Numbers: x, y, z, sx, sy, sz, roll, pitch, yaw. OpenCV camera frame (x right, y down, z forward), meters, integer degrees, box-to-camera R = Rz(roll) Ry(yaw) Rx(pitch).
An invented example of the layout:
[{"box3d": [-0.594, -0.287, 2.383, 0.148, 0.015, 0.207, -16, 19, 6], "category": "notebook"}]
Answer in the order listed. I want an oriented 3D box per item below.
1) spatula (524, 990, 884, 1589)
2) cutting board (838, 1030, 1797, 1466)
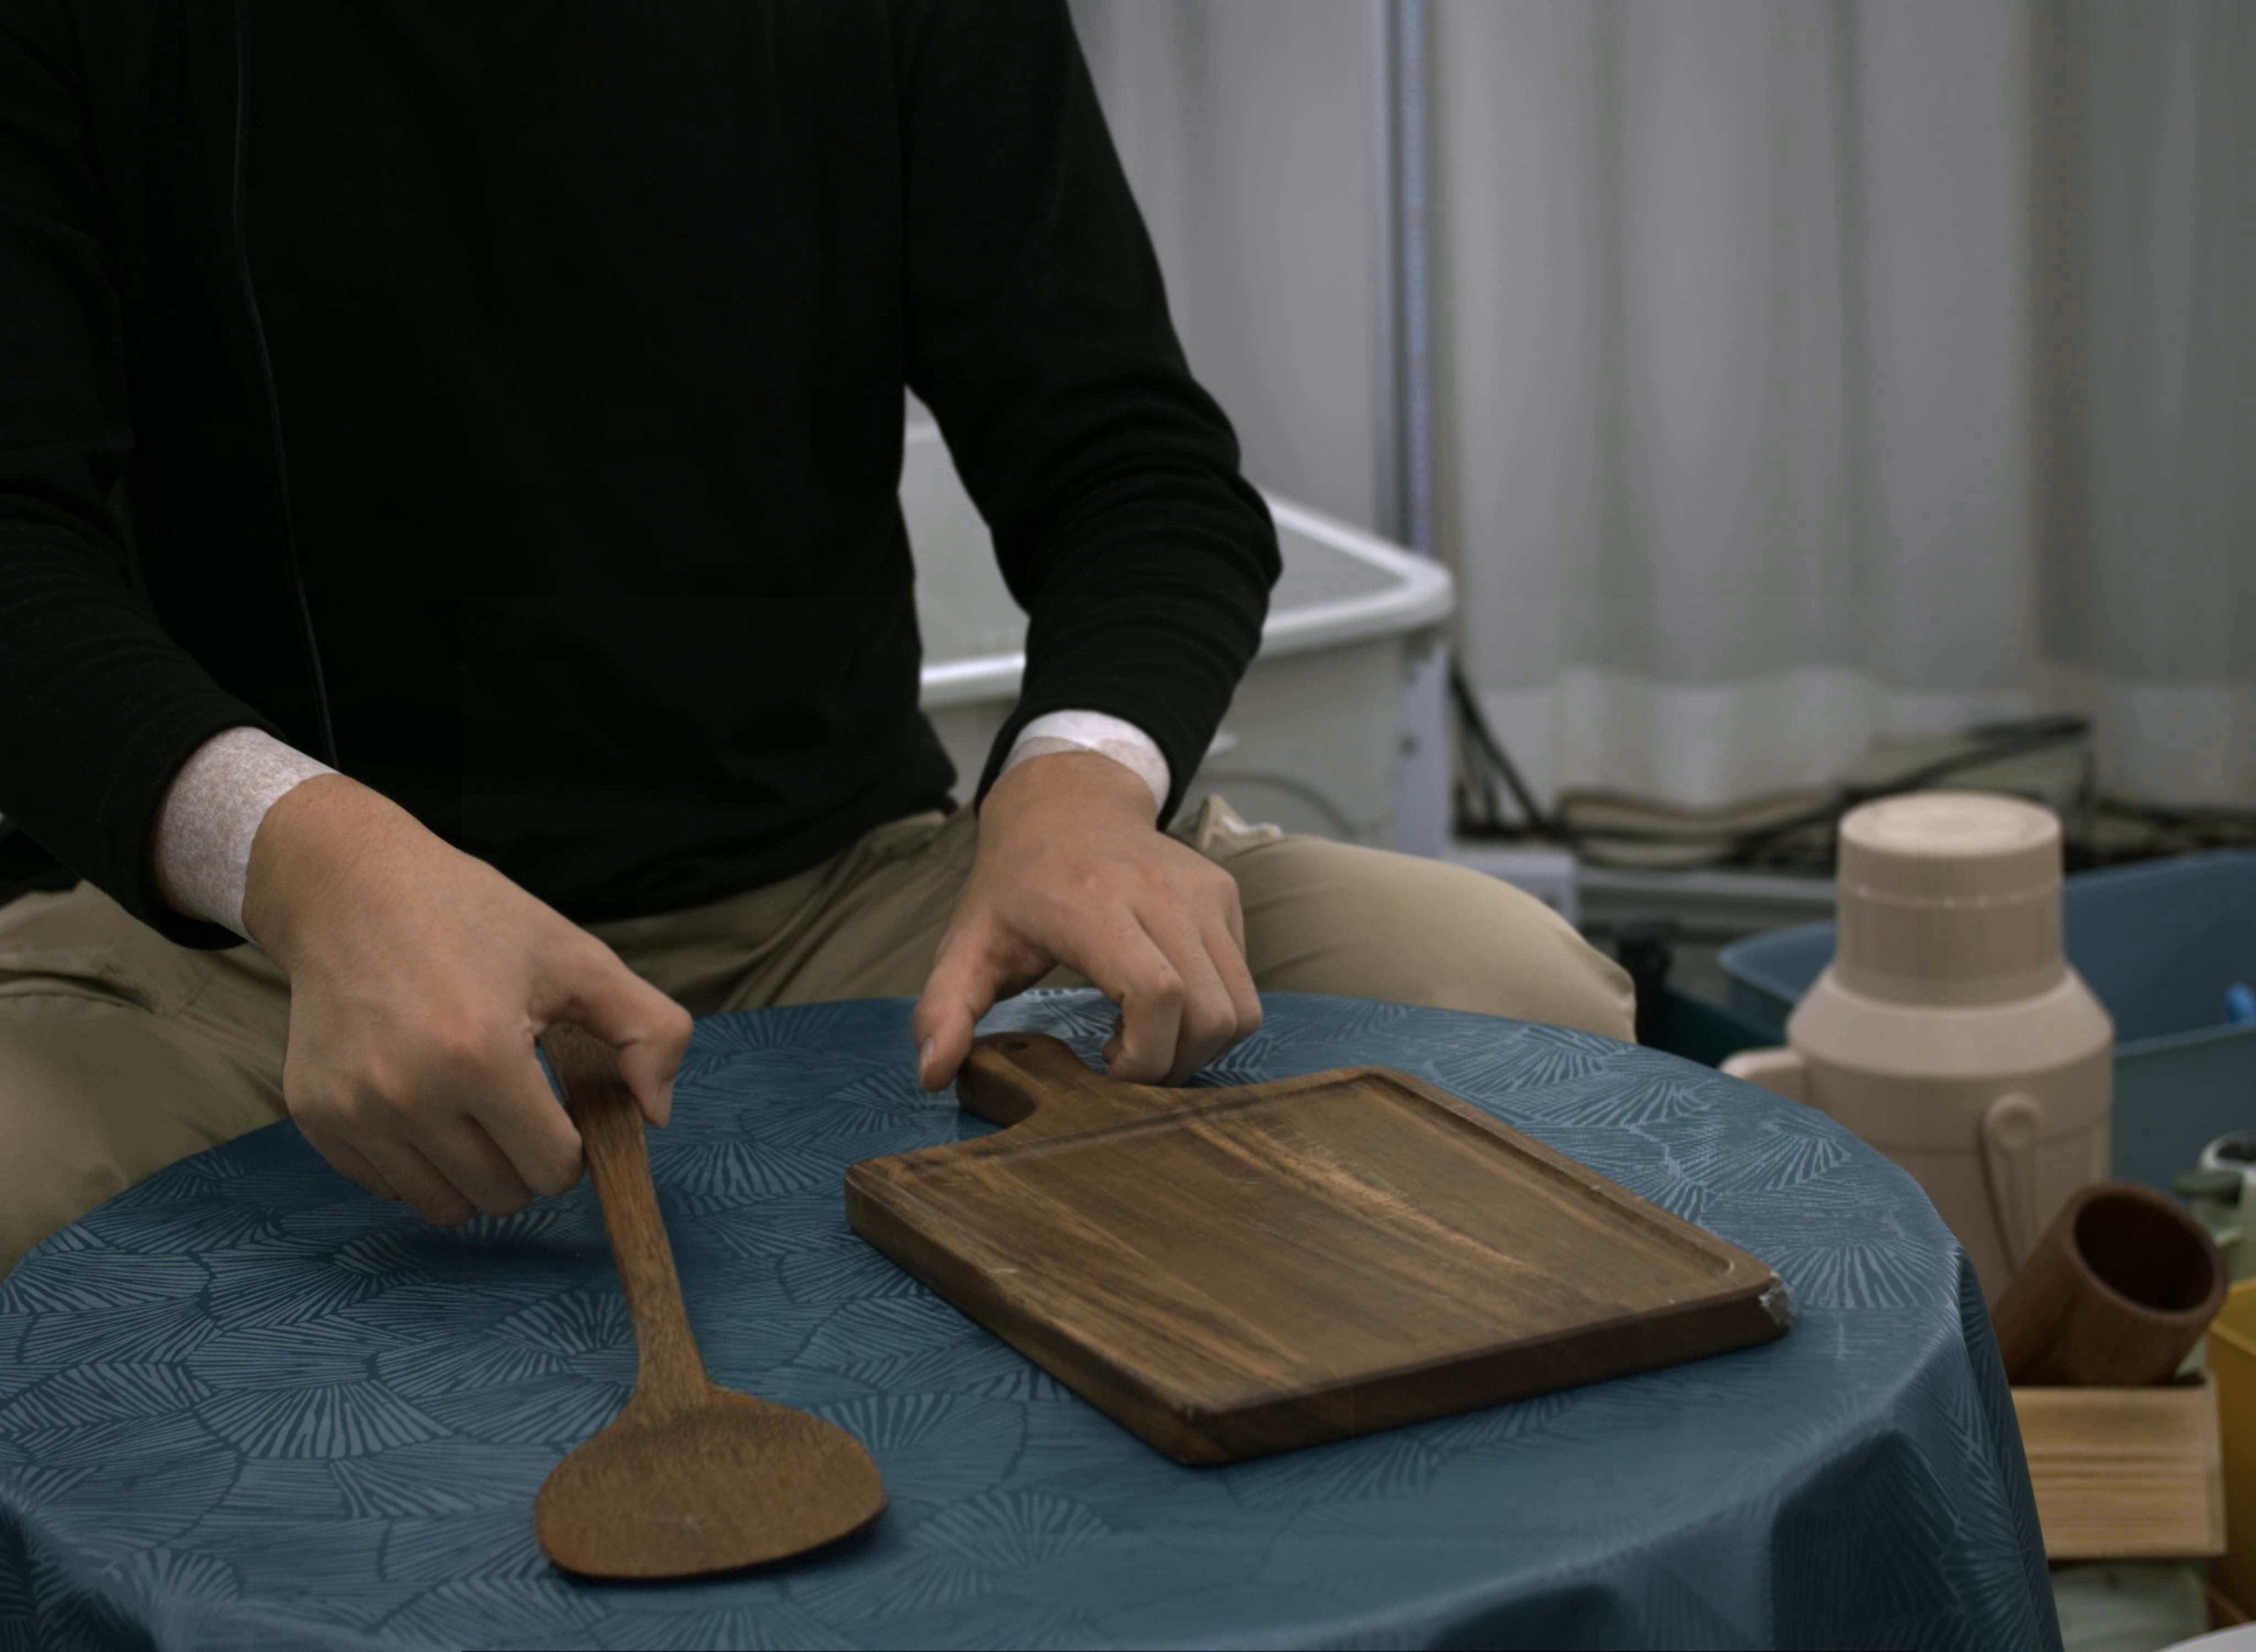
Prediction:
[{"box3d": [-0.144, 0.125, 1.598, 0.096, 0.015, 0.390, -8, 23, -9], "category": "spatula"}, {"box3d": [0.029, 0.114, 1.668, 0.200, 0.023, 0.355, -9, 16, -24], "category": "cutting board"}]
